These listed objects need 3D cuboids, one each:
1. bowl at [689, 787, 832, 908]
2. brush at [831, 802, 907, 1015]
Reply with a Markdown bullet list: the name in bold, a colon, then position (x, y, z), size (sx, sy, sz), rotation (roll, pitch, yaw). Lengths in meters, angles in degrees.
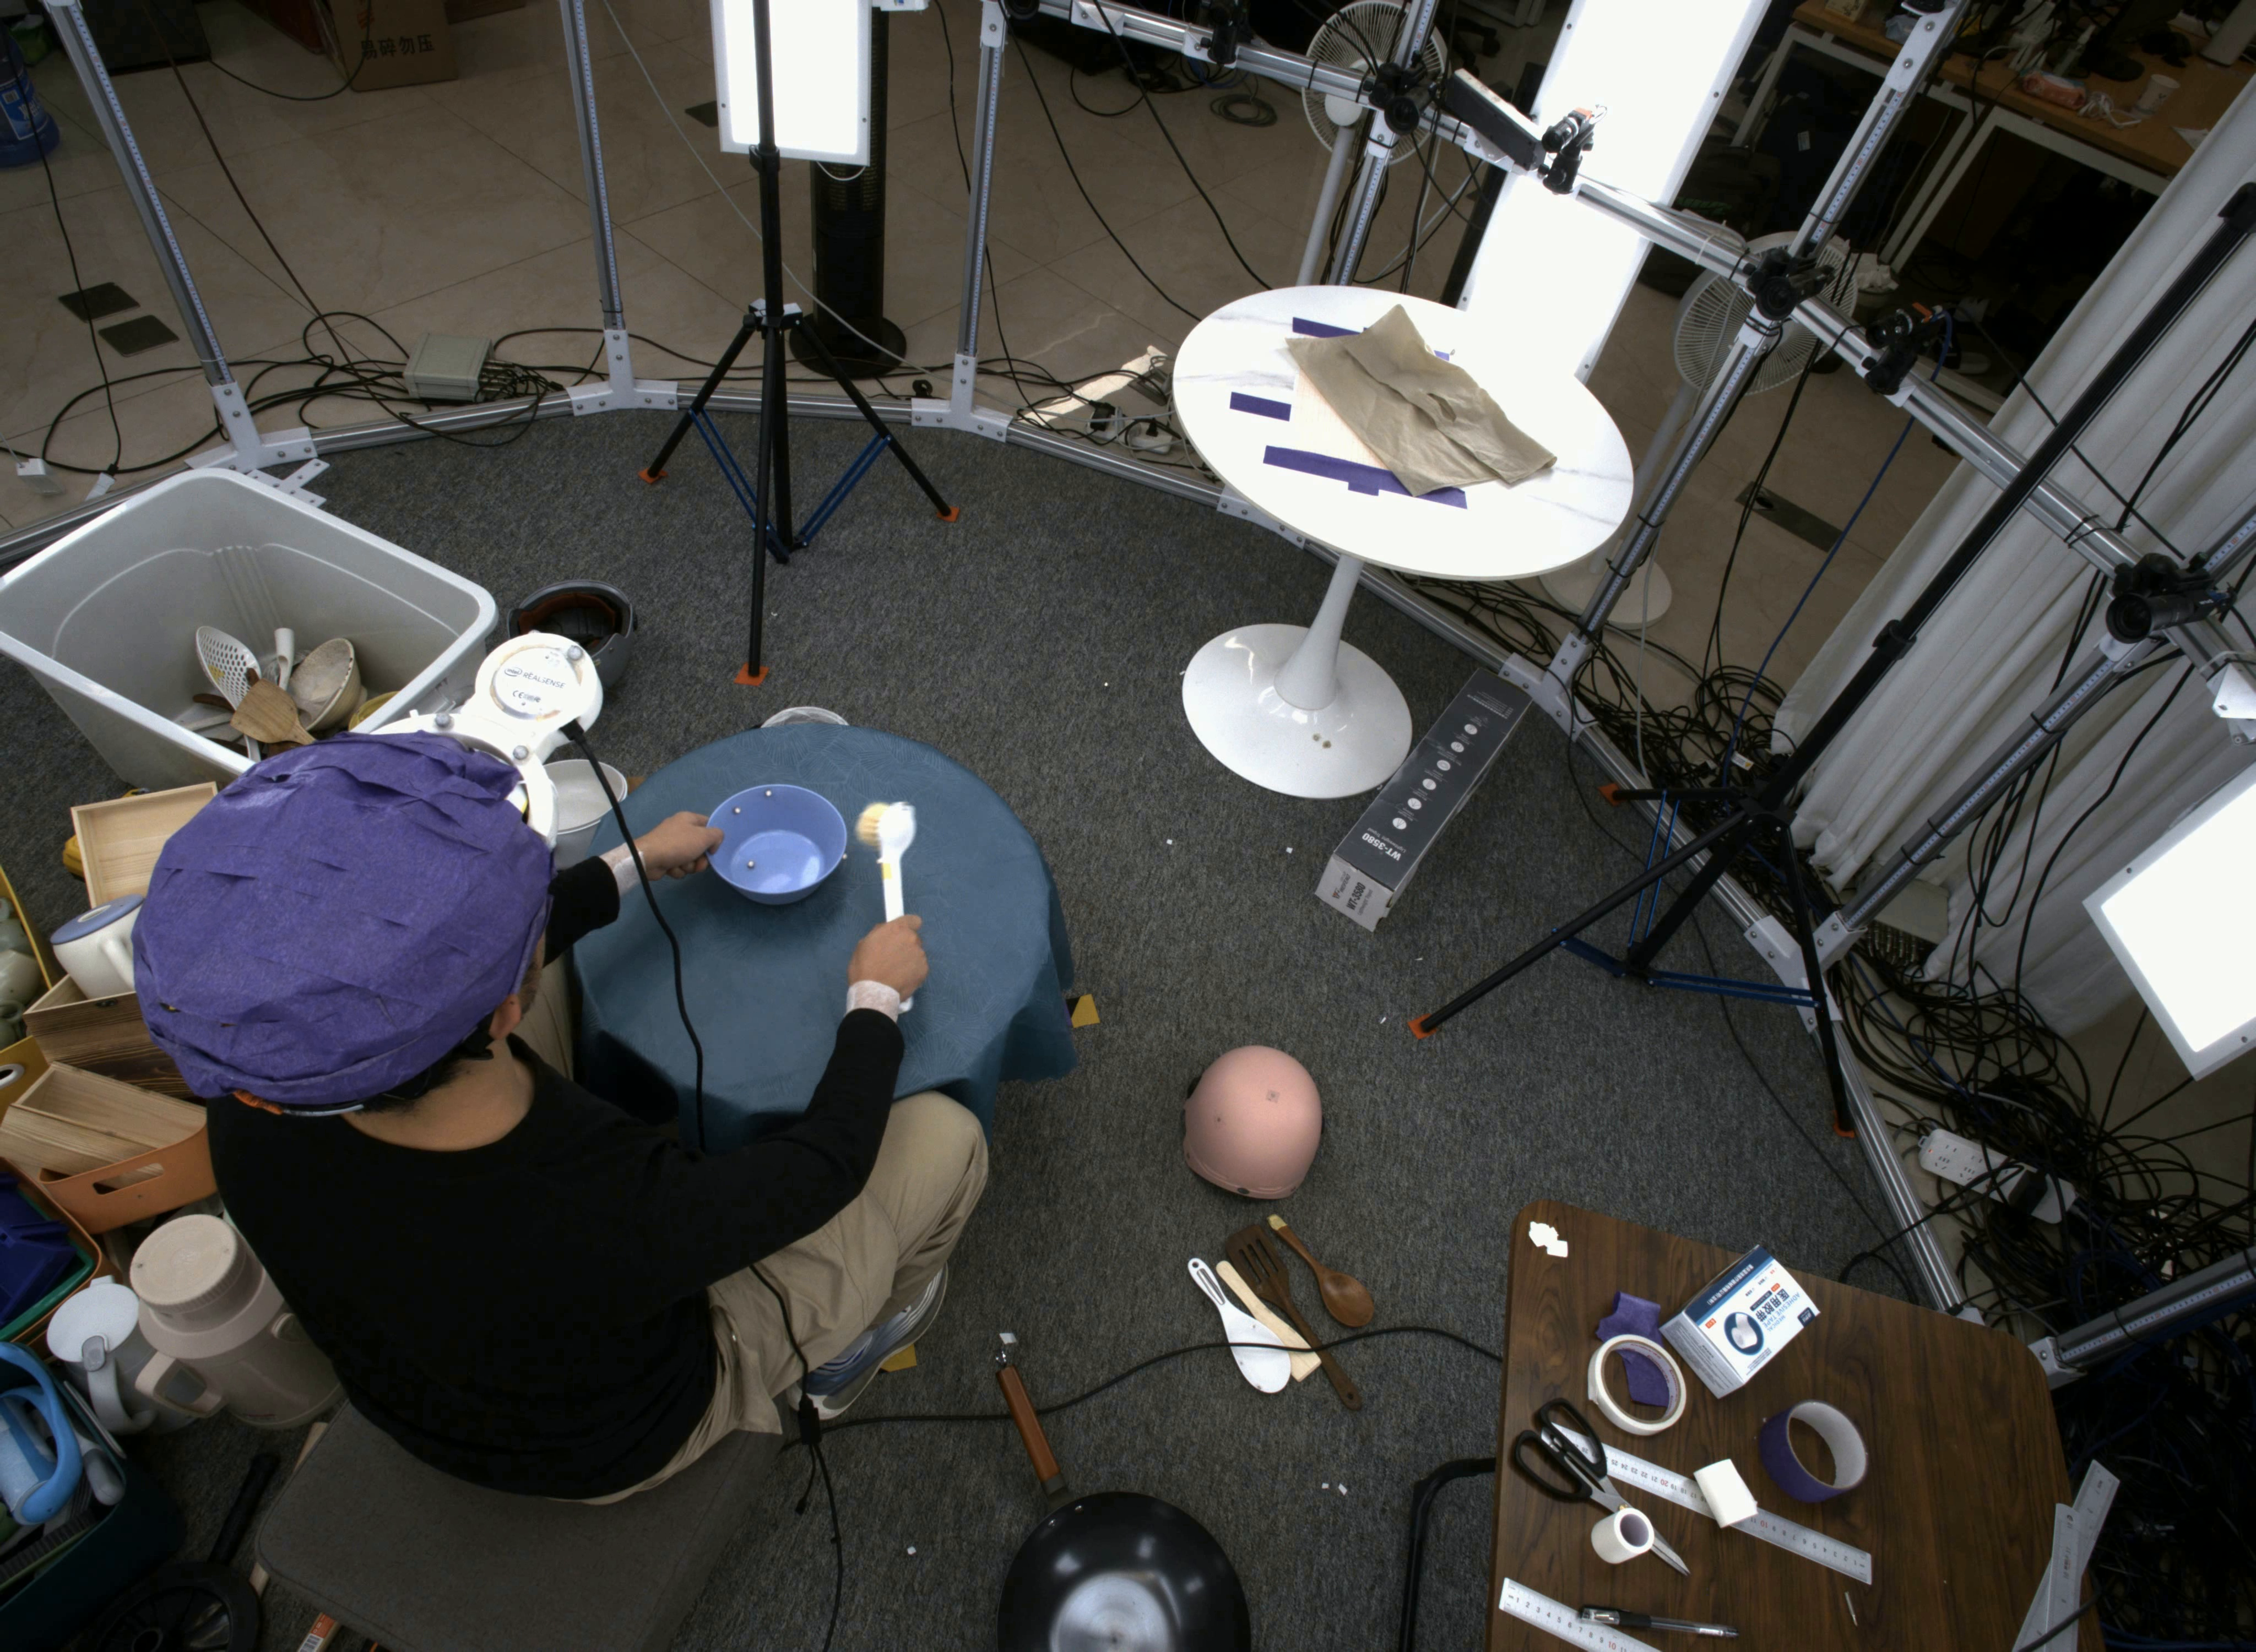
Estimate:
- **bowl**: position (-0.461, 0.036, 1.633), size (0.175, 0.072, 0.173), rotation (8, 49, -7)
- **brush**: position (-0.311, 0.098, 1.578), size (0.070, 0.055, 0.266), rotation (5, 73, -51)
